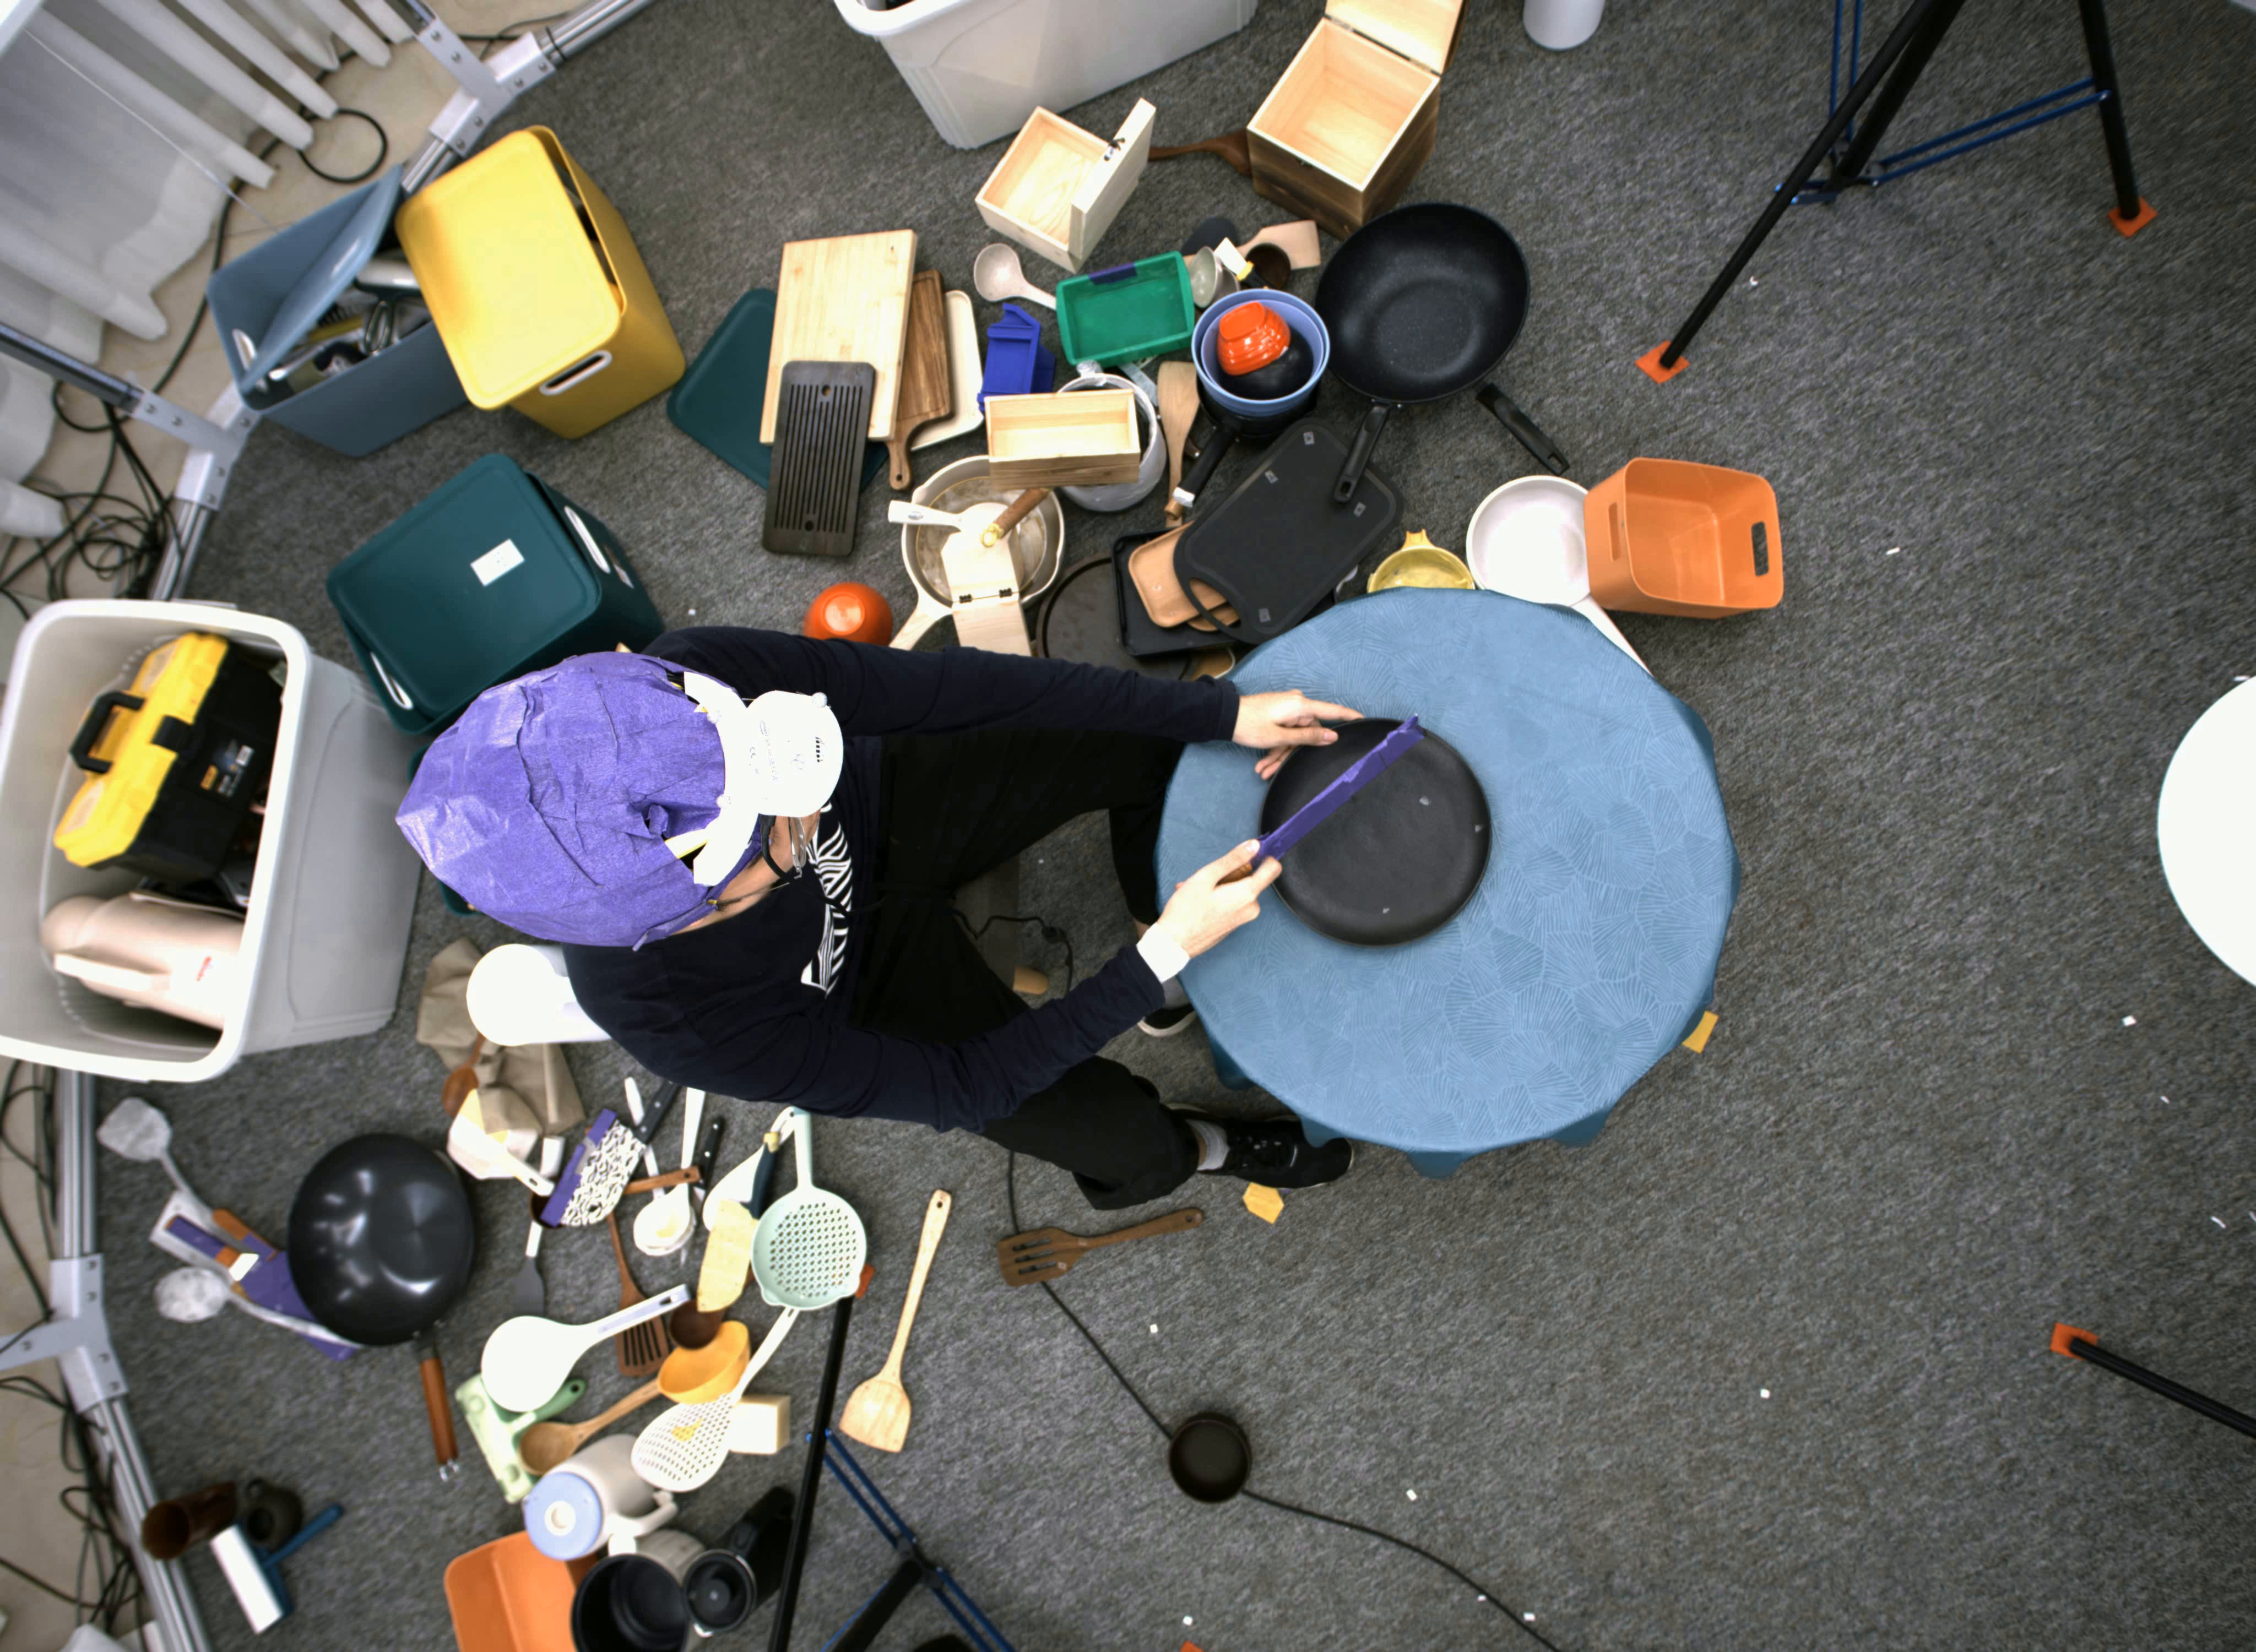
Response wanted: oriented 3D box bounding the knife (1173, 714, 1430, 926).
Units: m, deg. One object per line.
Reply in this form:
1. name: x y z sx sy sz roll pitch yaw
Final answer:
1. knife: 0.183 -0.001 1.410 0.317 0.104 0.032 -38 70 9

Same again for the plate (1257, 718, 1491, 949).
1. plate: 0.258 0.007 1.453 0.245 0.023 0.243 -1 87 10
